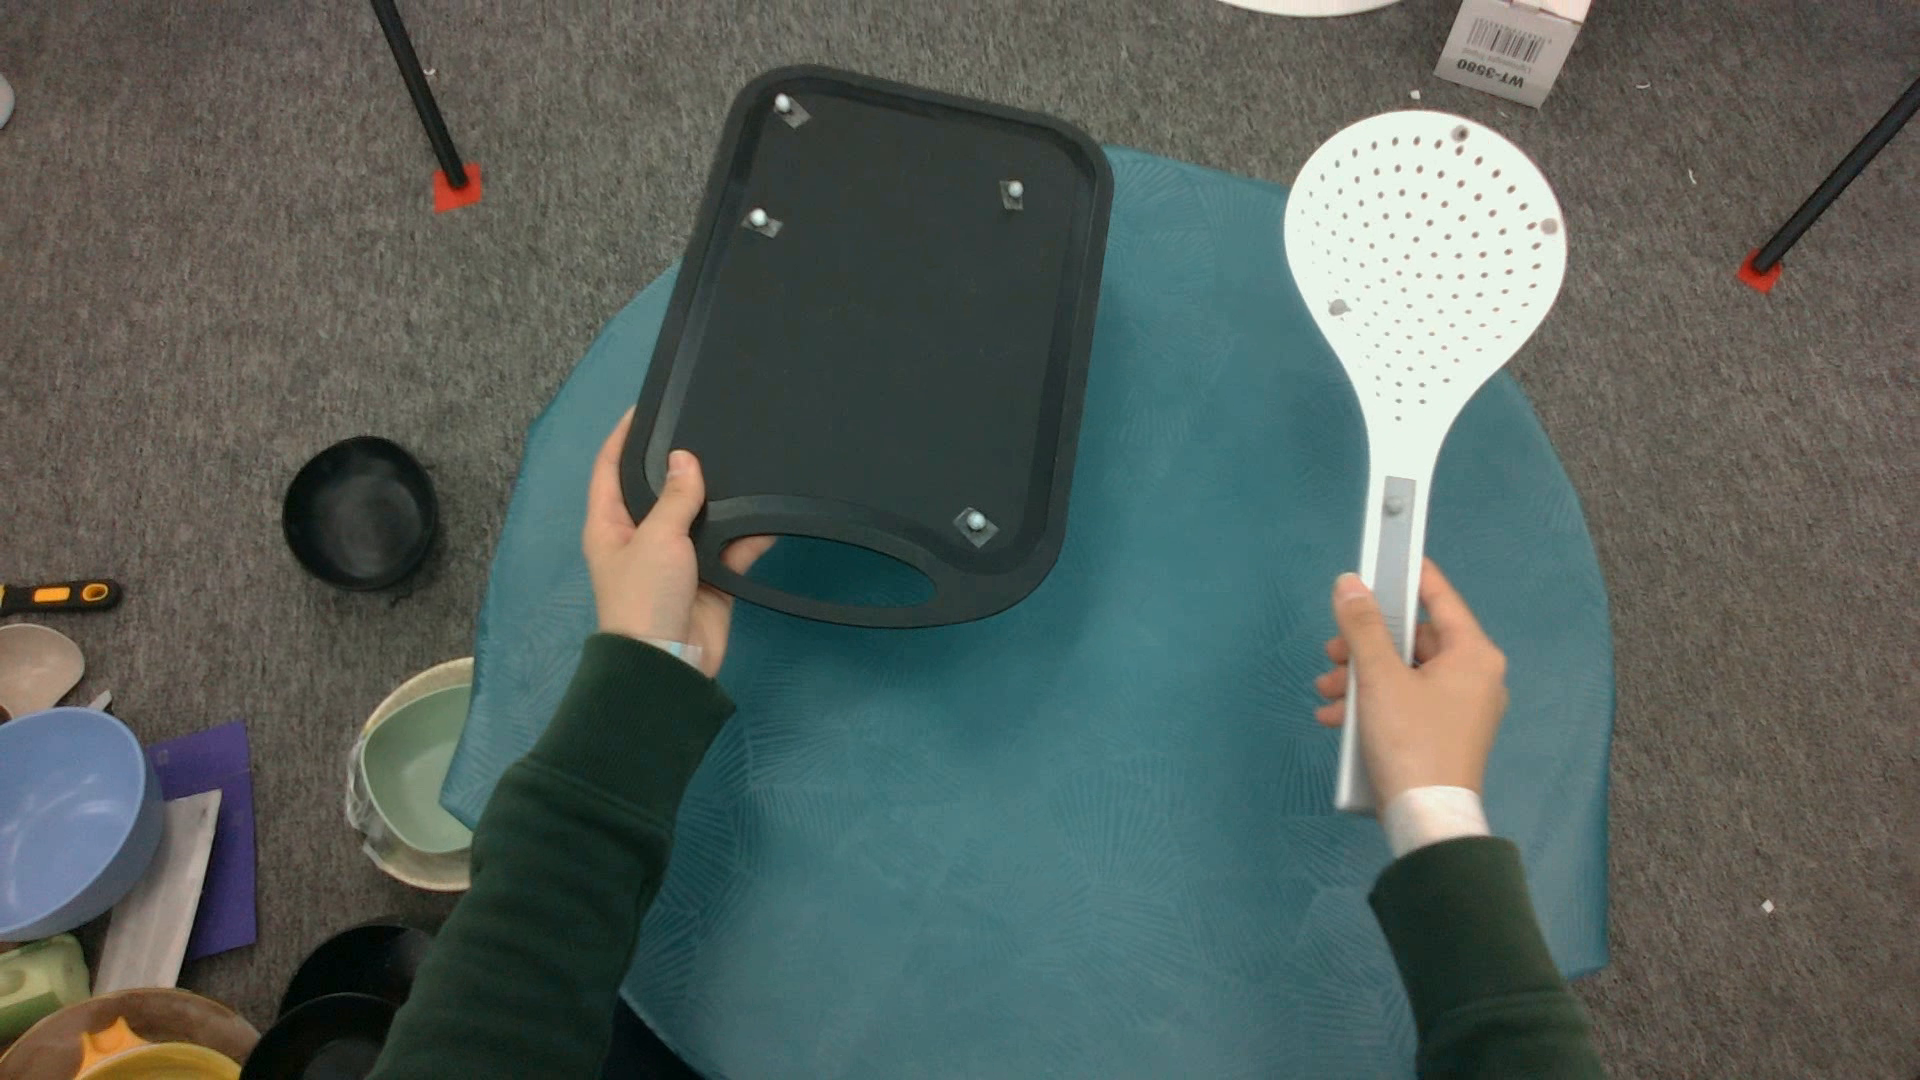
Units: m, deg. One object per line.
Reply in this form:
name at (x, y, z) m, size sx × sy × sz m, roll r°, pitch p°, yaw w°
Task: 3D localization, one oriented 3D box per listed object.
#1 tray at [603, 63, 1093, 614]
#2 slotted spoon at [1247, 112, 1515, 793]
tray at (-0.047, -0.112, 0.692) m, size 0.211 × 0.010 × 0.327 m, roll 12°, pitch 61°, yaw -3°
slotted spoon at (0.195, -0.053, 0.668) m, size 0.136 × 0.045 × 0.351 m, roll 9°, pitch 68°, yaw 1°
